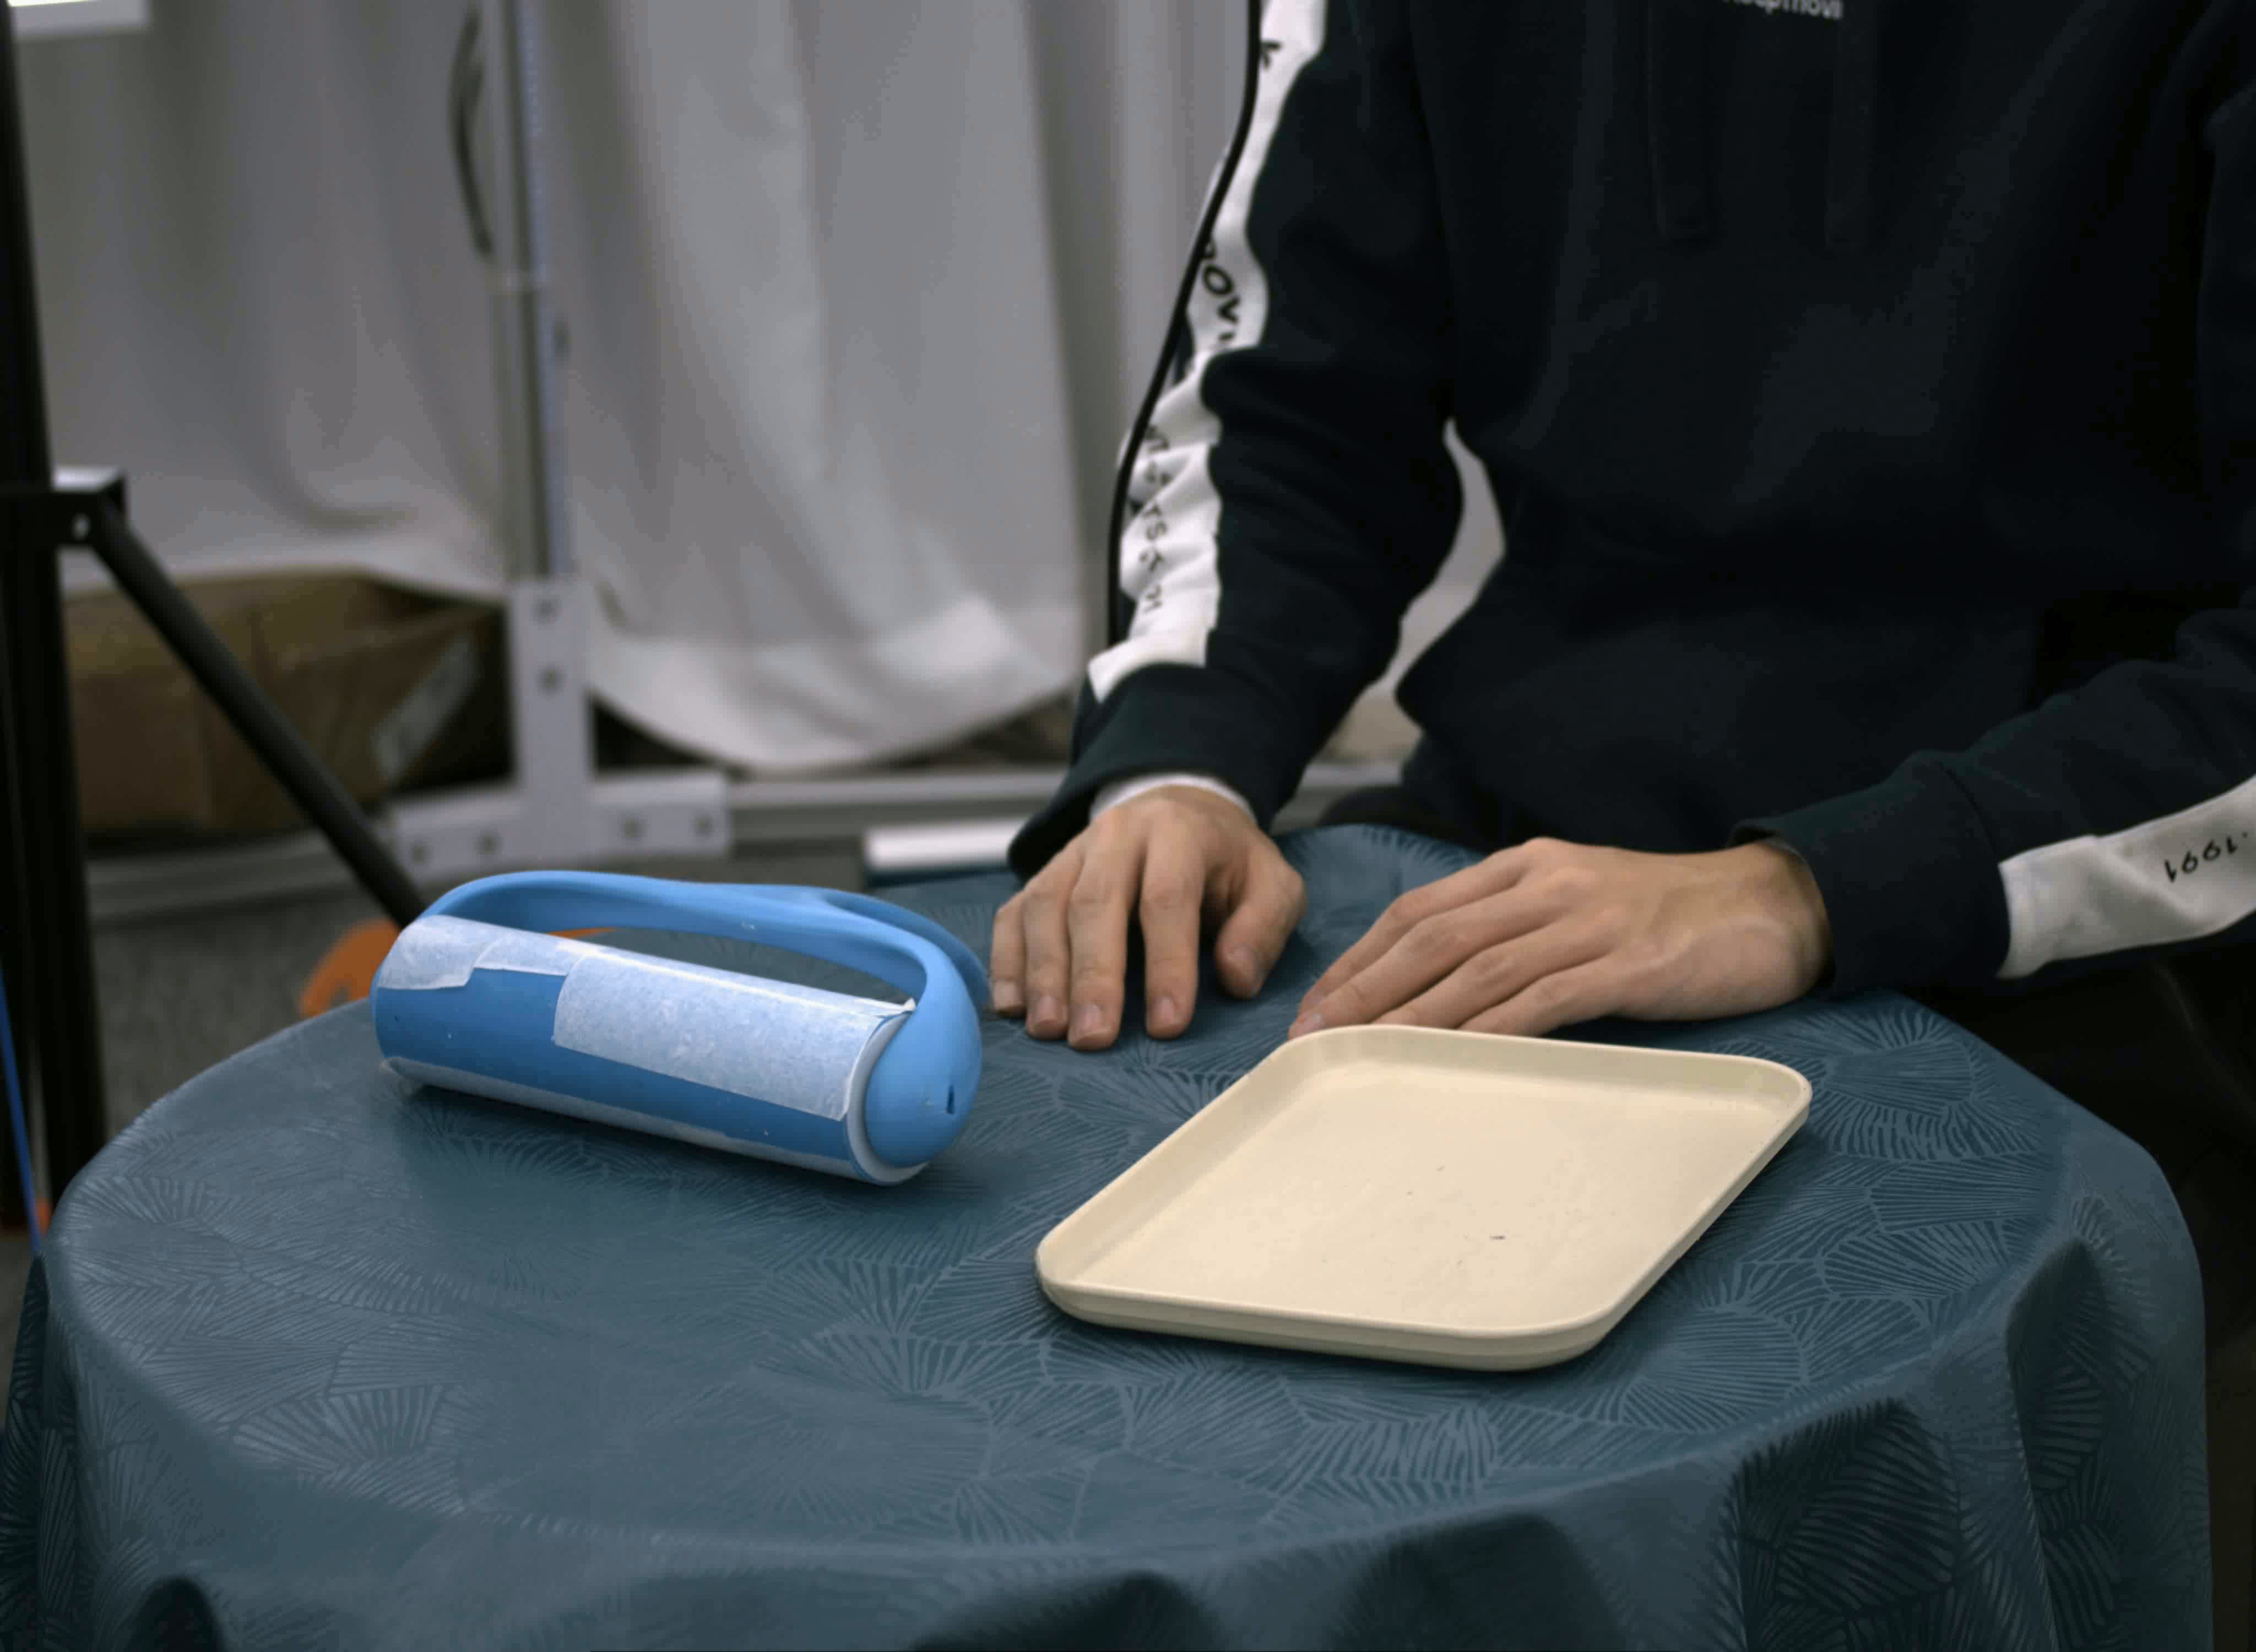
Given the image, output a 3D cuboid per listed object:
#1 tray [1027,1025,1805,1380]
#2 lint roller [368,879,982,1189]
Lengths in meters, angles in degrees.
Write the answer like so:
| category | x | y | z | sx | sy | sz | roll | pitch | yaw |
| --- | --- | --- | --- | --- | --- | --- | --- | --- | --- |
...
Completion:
| category | x | y | z | sx | sy | sz | roll | pitch | yaw |
| --- | --- | --- | --- | --- | --- | --- | --- | --- | --- |
| tray | 0.087 | 0.106 | 1.517 | 0.174 | 0.017 | 0.236 | 5 | 18 | 24 |
| lint roller | -0.110 | 0.052 | 1.671 | 0.233 | 0.068 | 0.177 | 6 | 20 | 35 |
